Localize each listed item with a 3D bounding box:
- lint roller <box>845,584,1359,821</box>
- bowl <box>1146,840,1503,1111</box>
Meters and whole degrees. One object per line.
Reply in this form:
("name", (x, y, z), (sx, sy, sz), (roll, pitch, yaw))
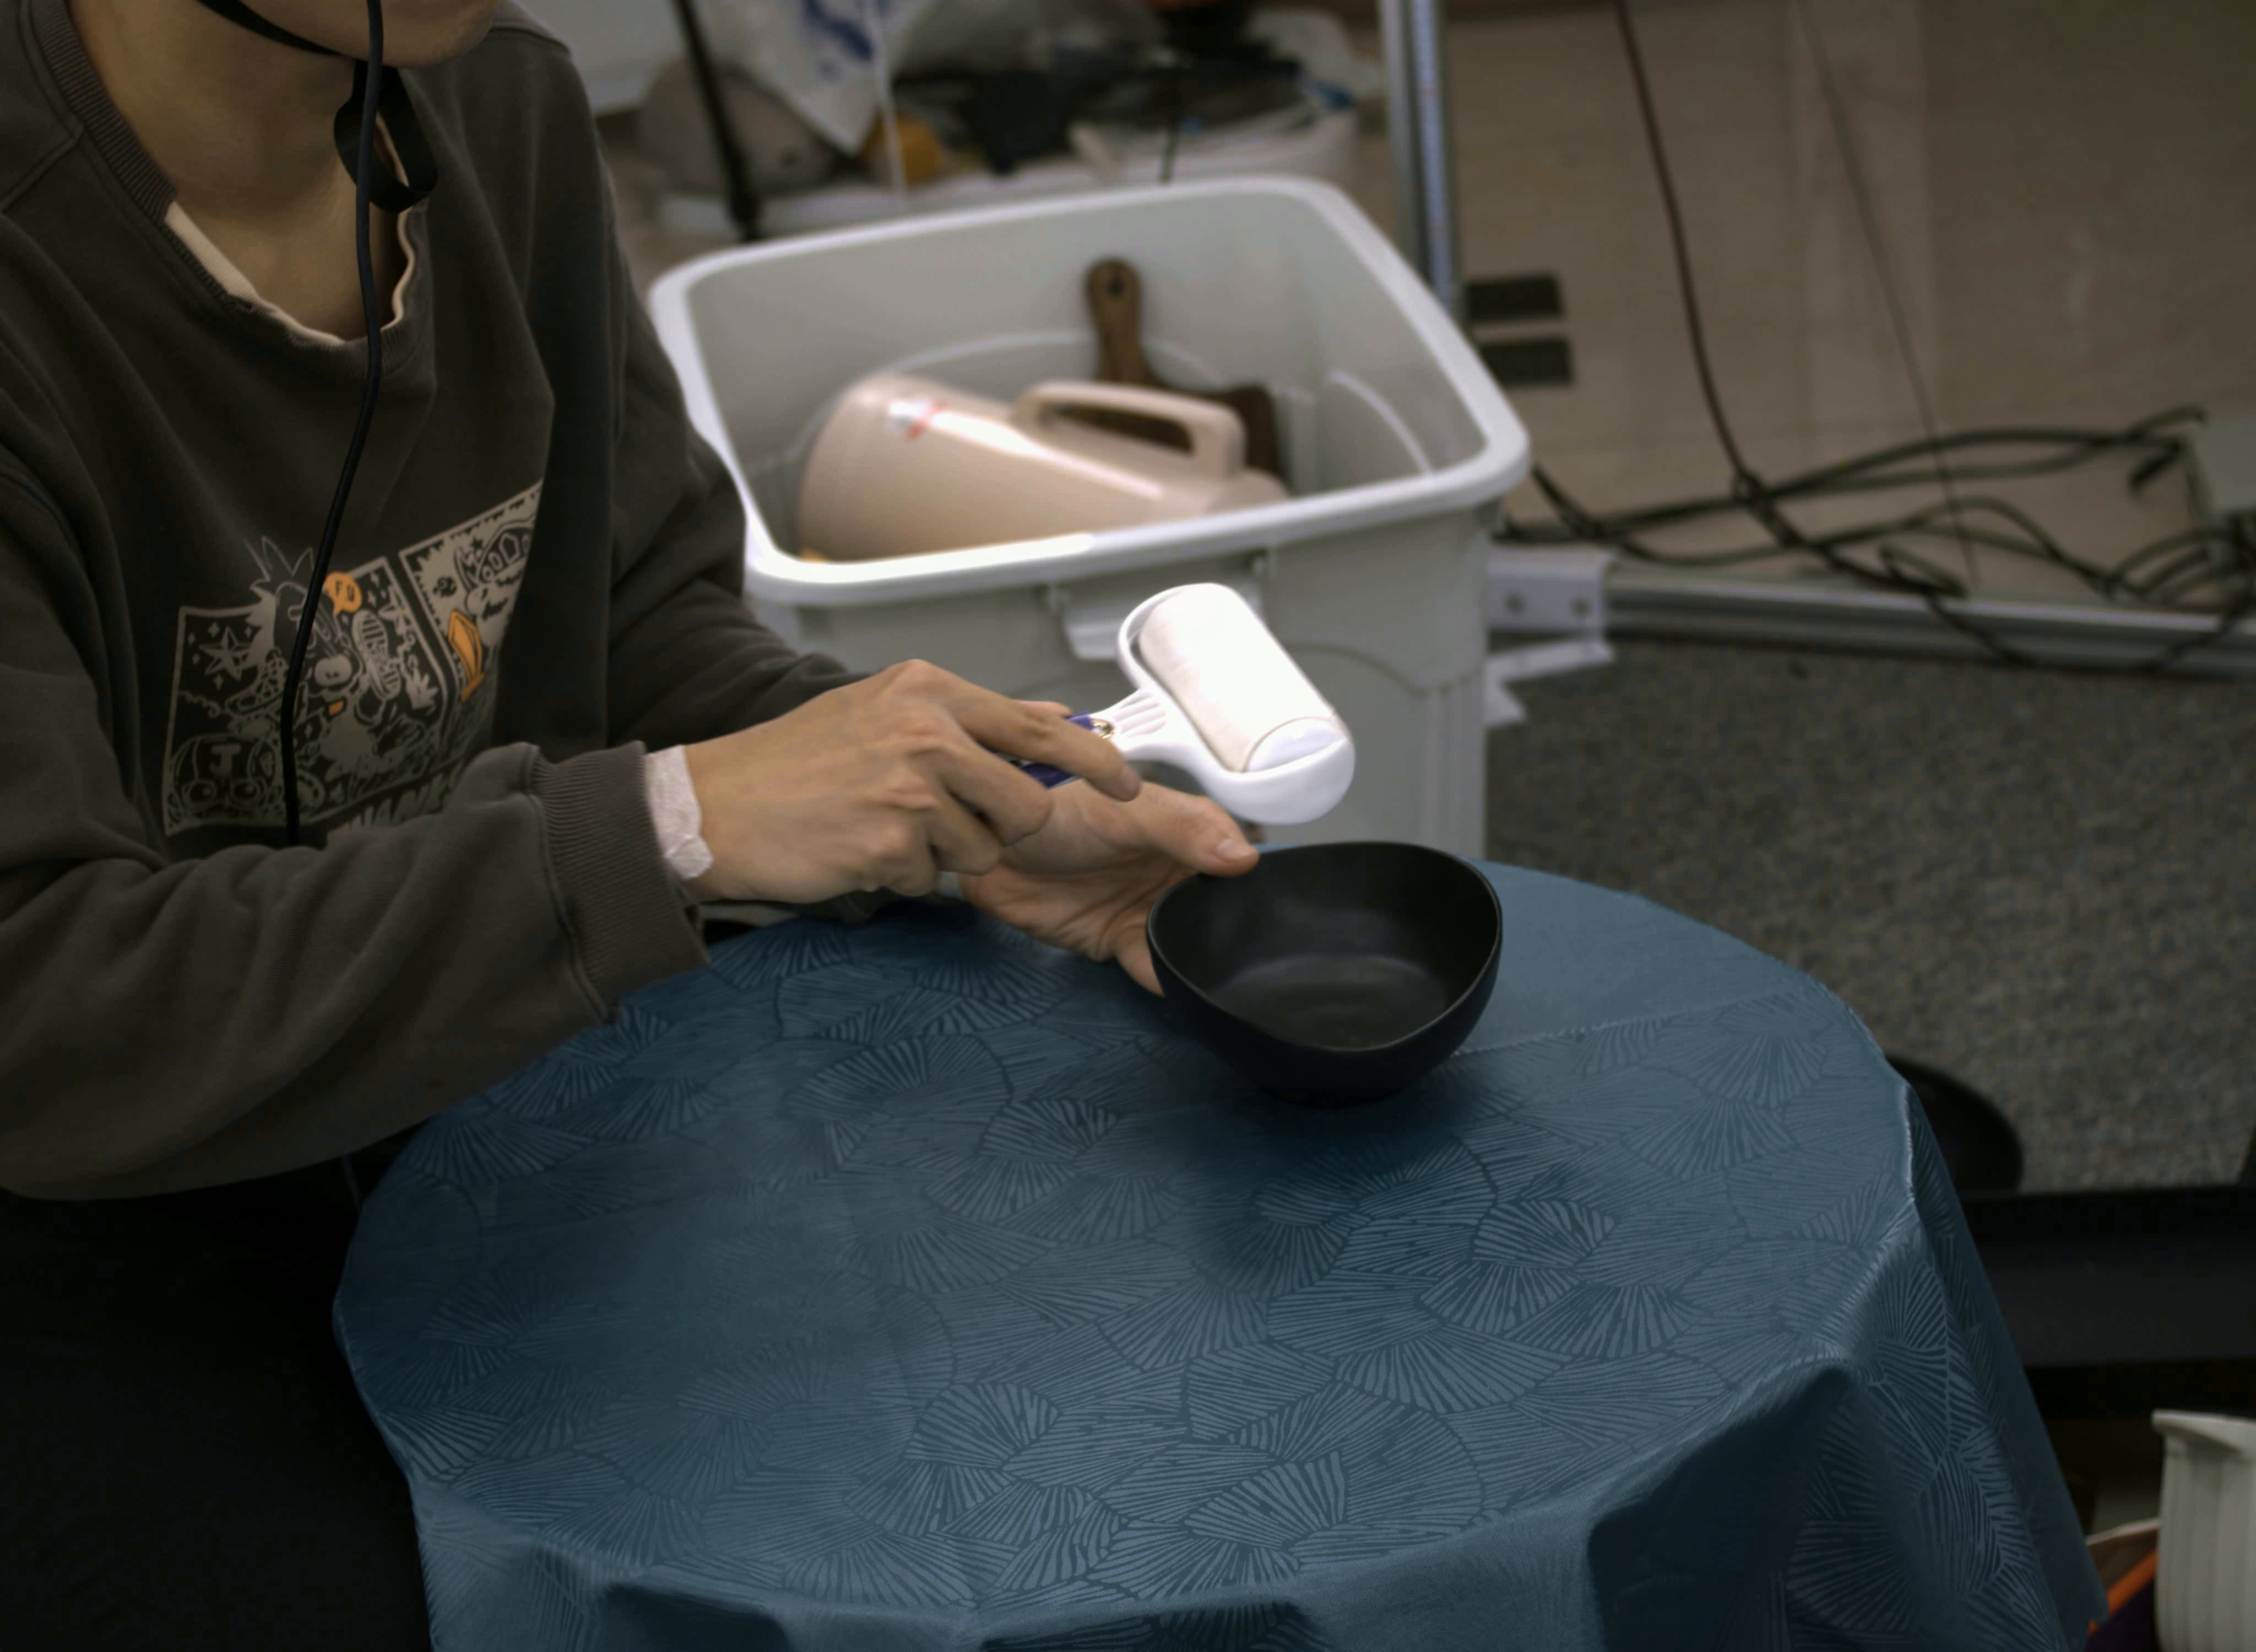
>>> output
("lint roller", (-0.017, -0.039, 2.065), (0.180, 0.051, 0.131), (-7, 34, -20))
("bowl", (0.080, 0.066, 2.208), (0.137, 0.068, 0.168), (-12, 27, -9))
